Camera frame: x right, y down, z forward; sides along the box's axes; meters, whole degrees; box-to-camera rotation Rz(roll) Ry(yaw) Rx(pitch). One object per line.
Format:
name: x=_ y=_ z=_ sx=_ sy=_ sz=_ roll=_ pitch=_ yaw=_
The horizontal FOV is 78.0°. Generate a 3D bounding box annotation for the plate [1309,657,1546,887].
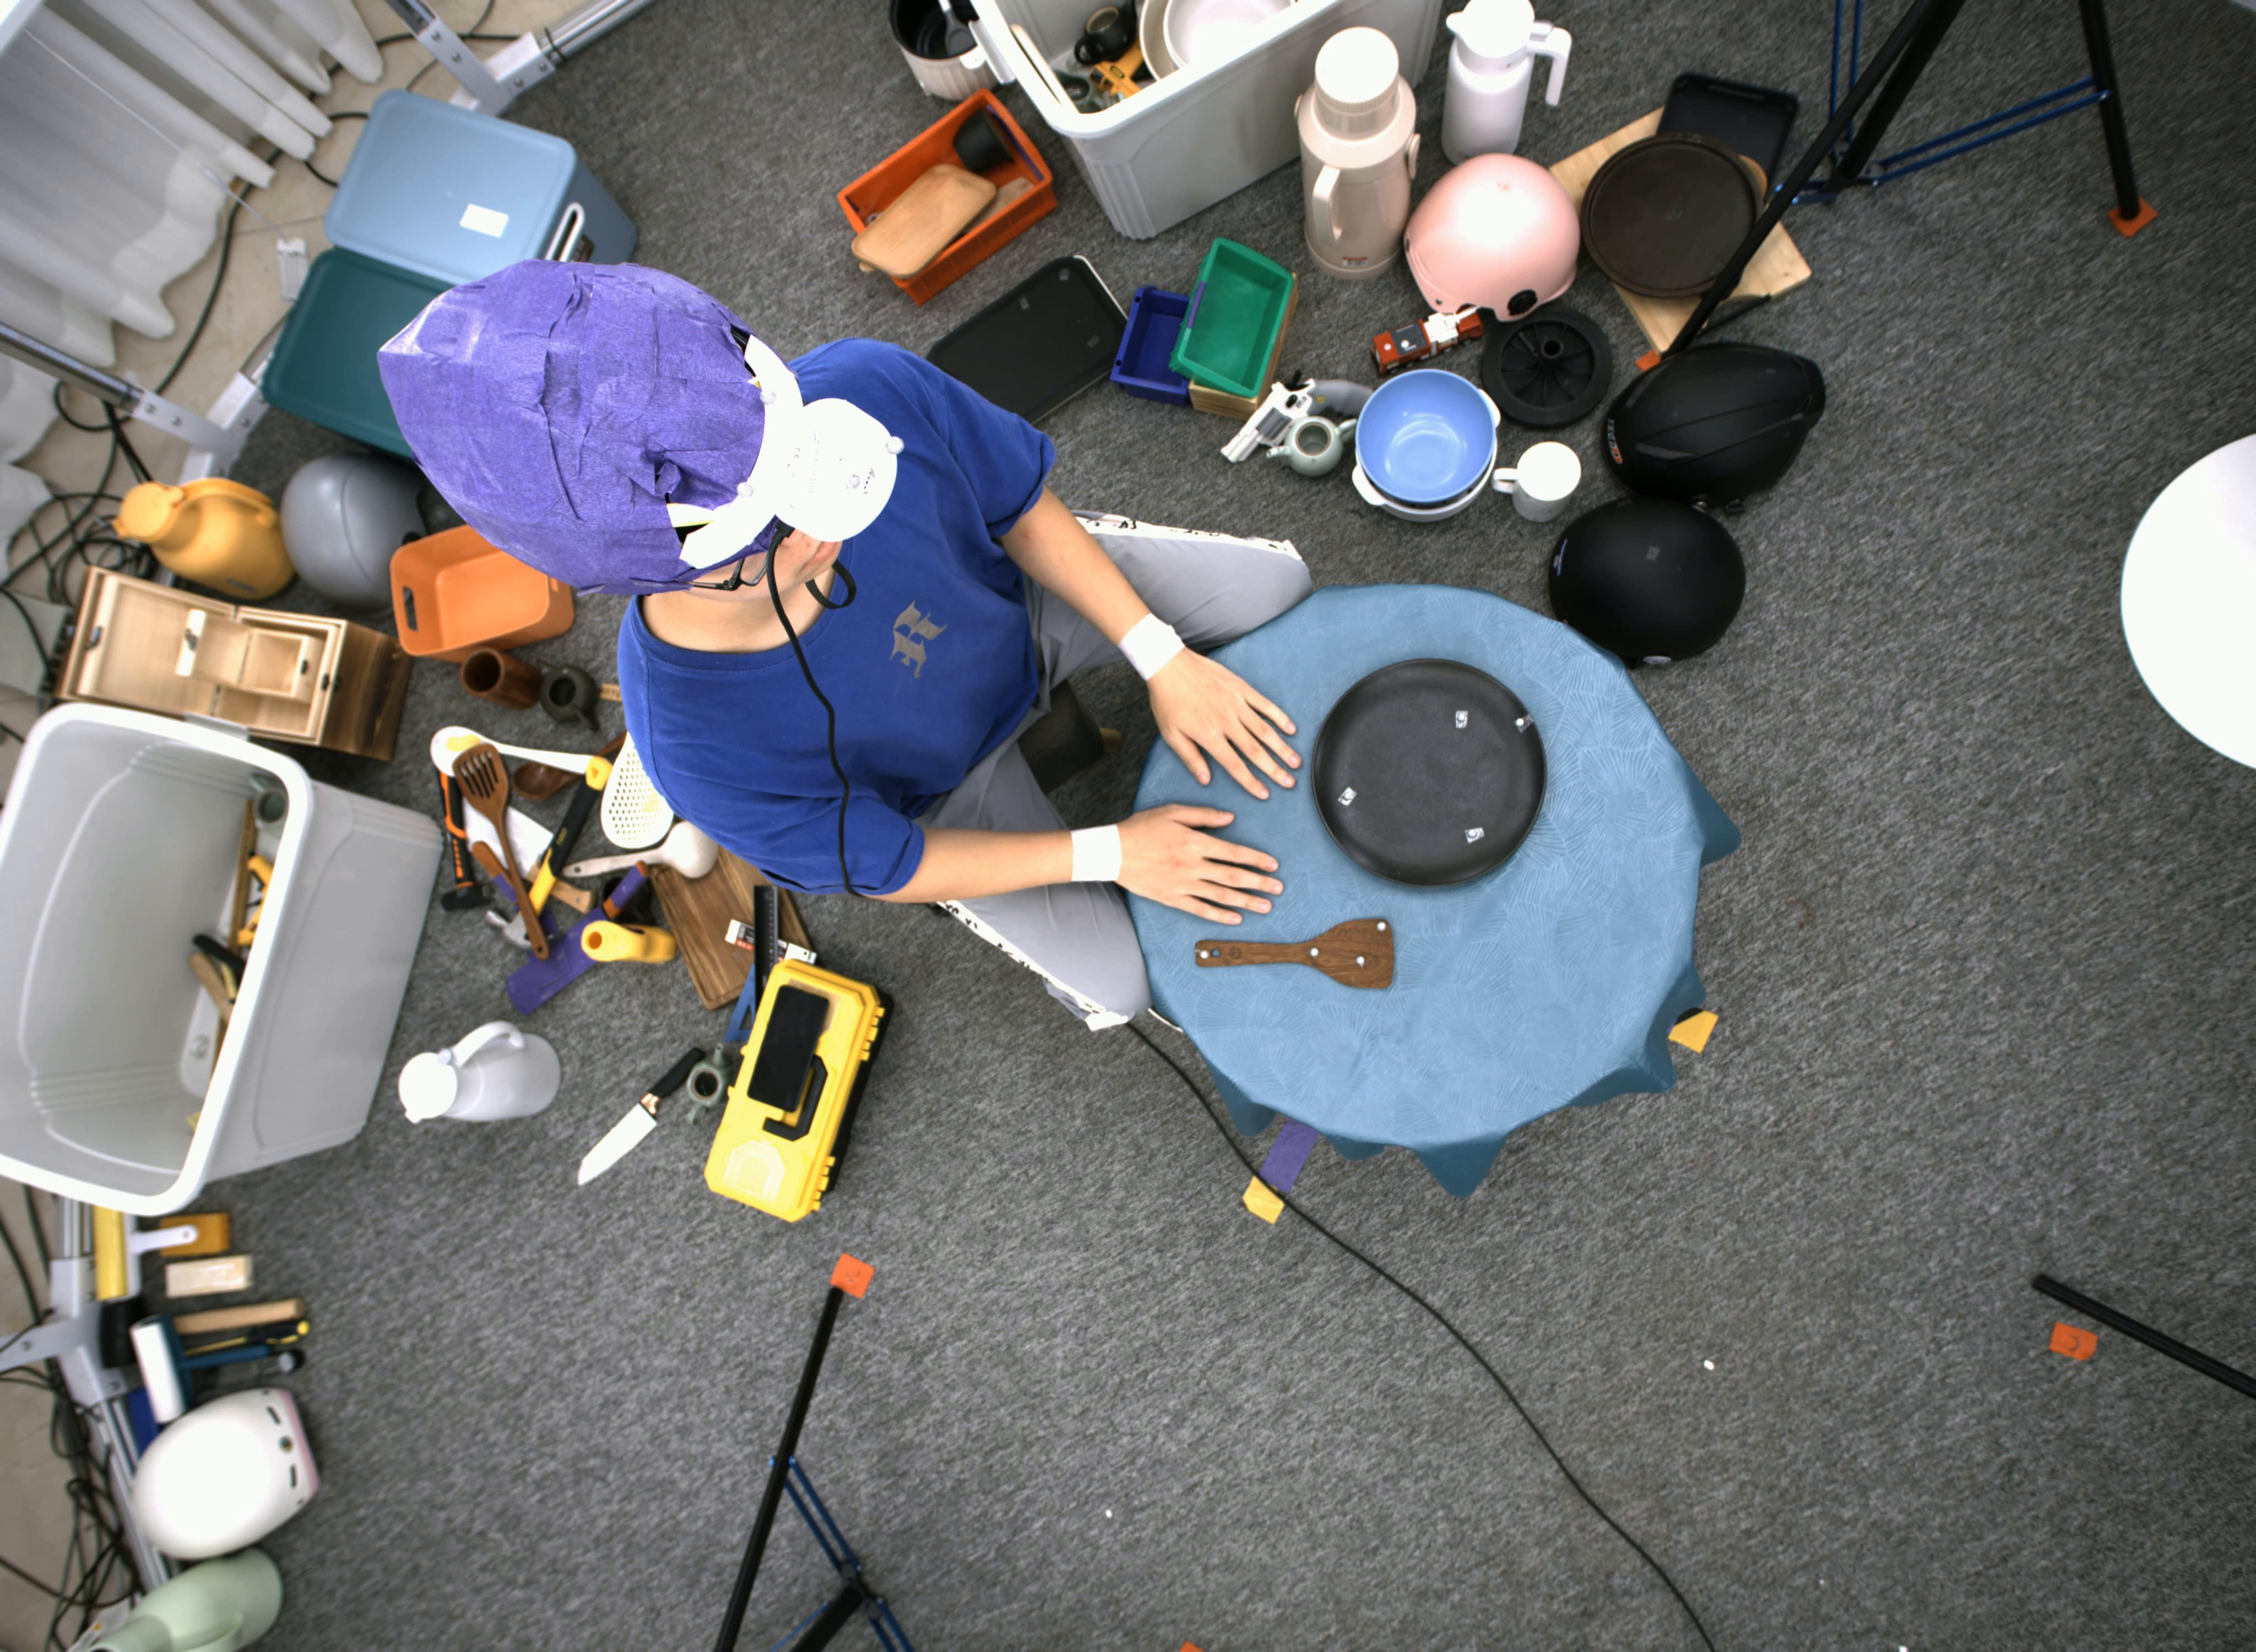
plate: x=0.313 y=-0.057 z=1.445 sx=0.245 sy=0.023 sz=0.243 roll=-1 pitch=87 yaw=11

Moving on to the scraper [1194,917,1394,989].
scraper: x=0.174 y=0.134 z=1.469 sx=0.212 sy=0.011 sz=0.075 roll=-1 pitch=86 yaw=11
